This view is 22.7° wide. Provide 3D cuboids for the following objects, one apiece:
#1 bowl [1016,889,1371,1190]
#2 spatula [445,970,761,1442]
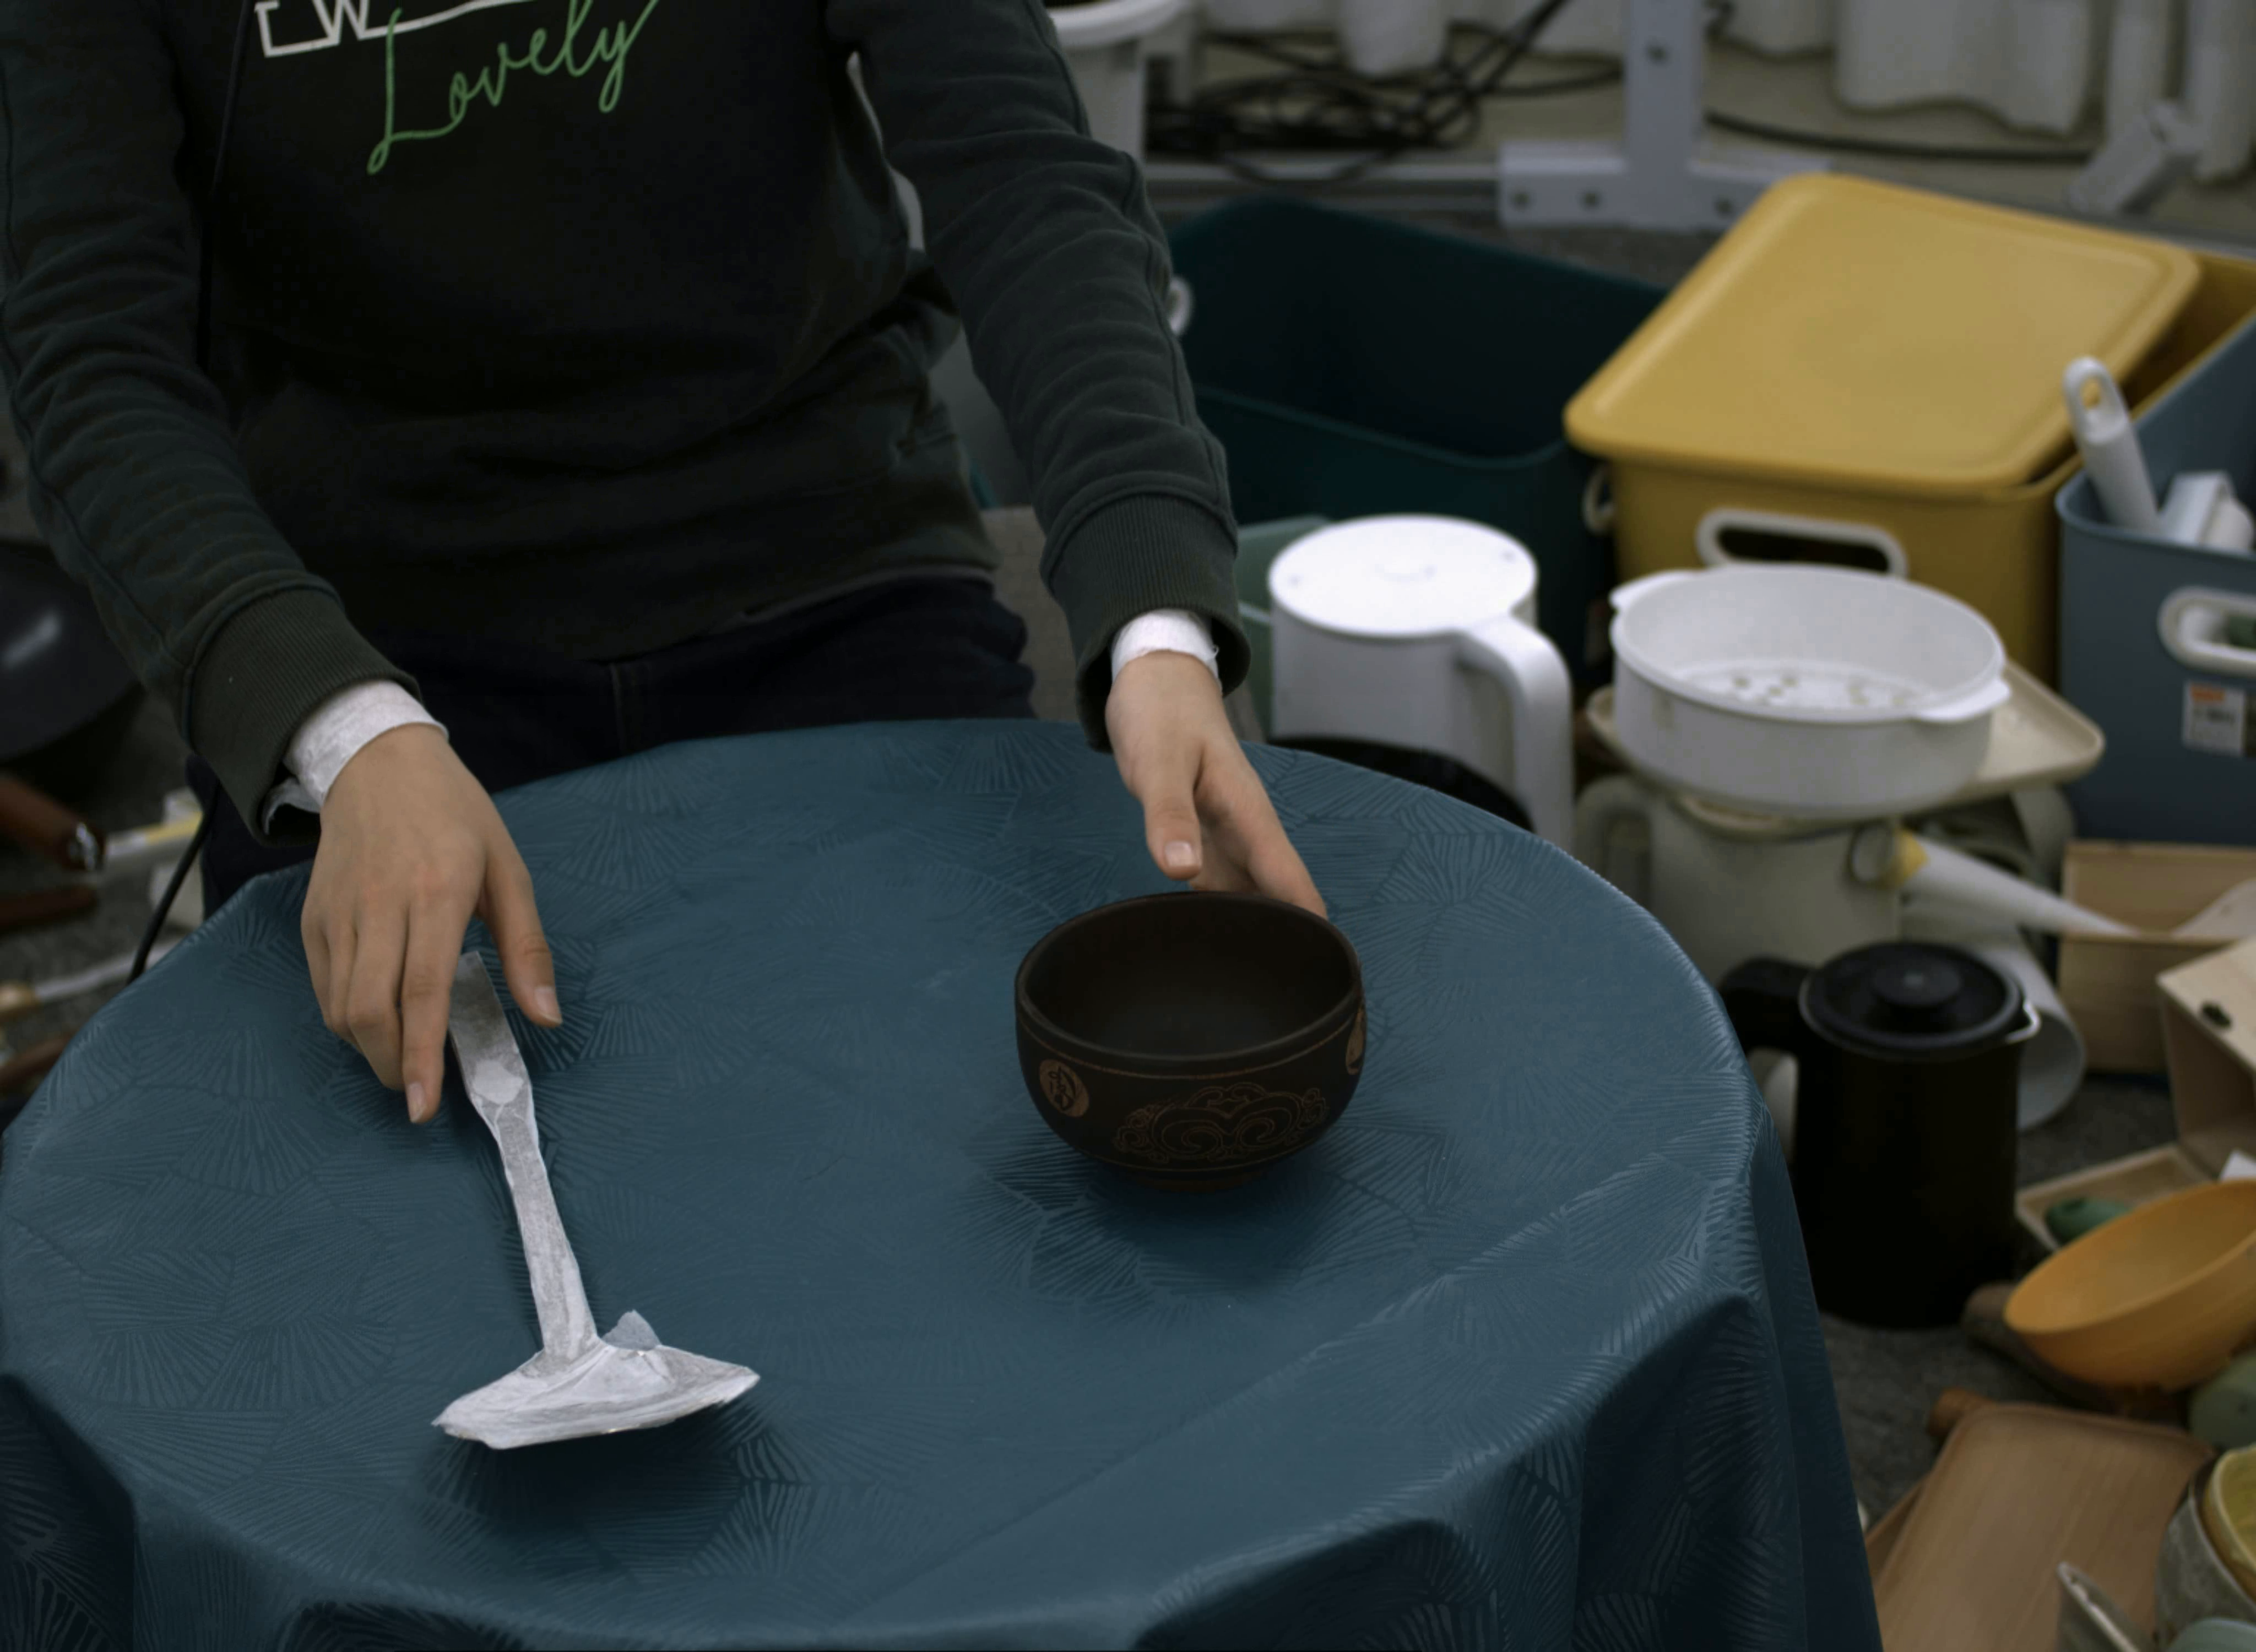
[{"bbox_3d":[0.022,0.077,1.868,0.117,0.069,0.120,-1,26,1],"label":"bowl"},{"bbox_3d":[-0.193,0.117,1.848,0.098,0.044,0.369,-10,28,-9],"label":"spatula"}]
